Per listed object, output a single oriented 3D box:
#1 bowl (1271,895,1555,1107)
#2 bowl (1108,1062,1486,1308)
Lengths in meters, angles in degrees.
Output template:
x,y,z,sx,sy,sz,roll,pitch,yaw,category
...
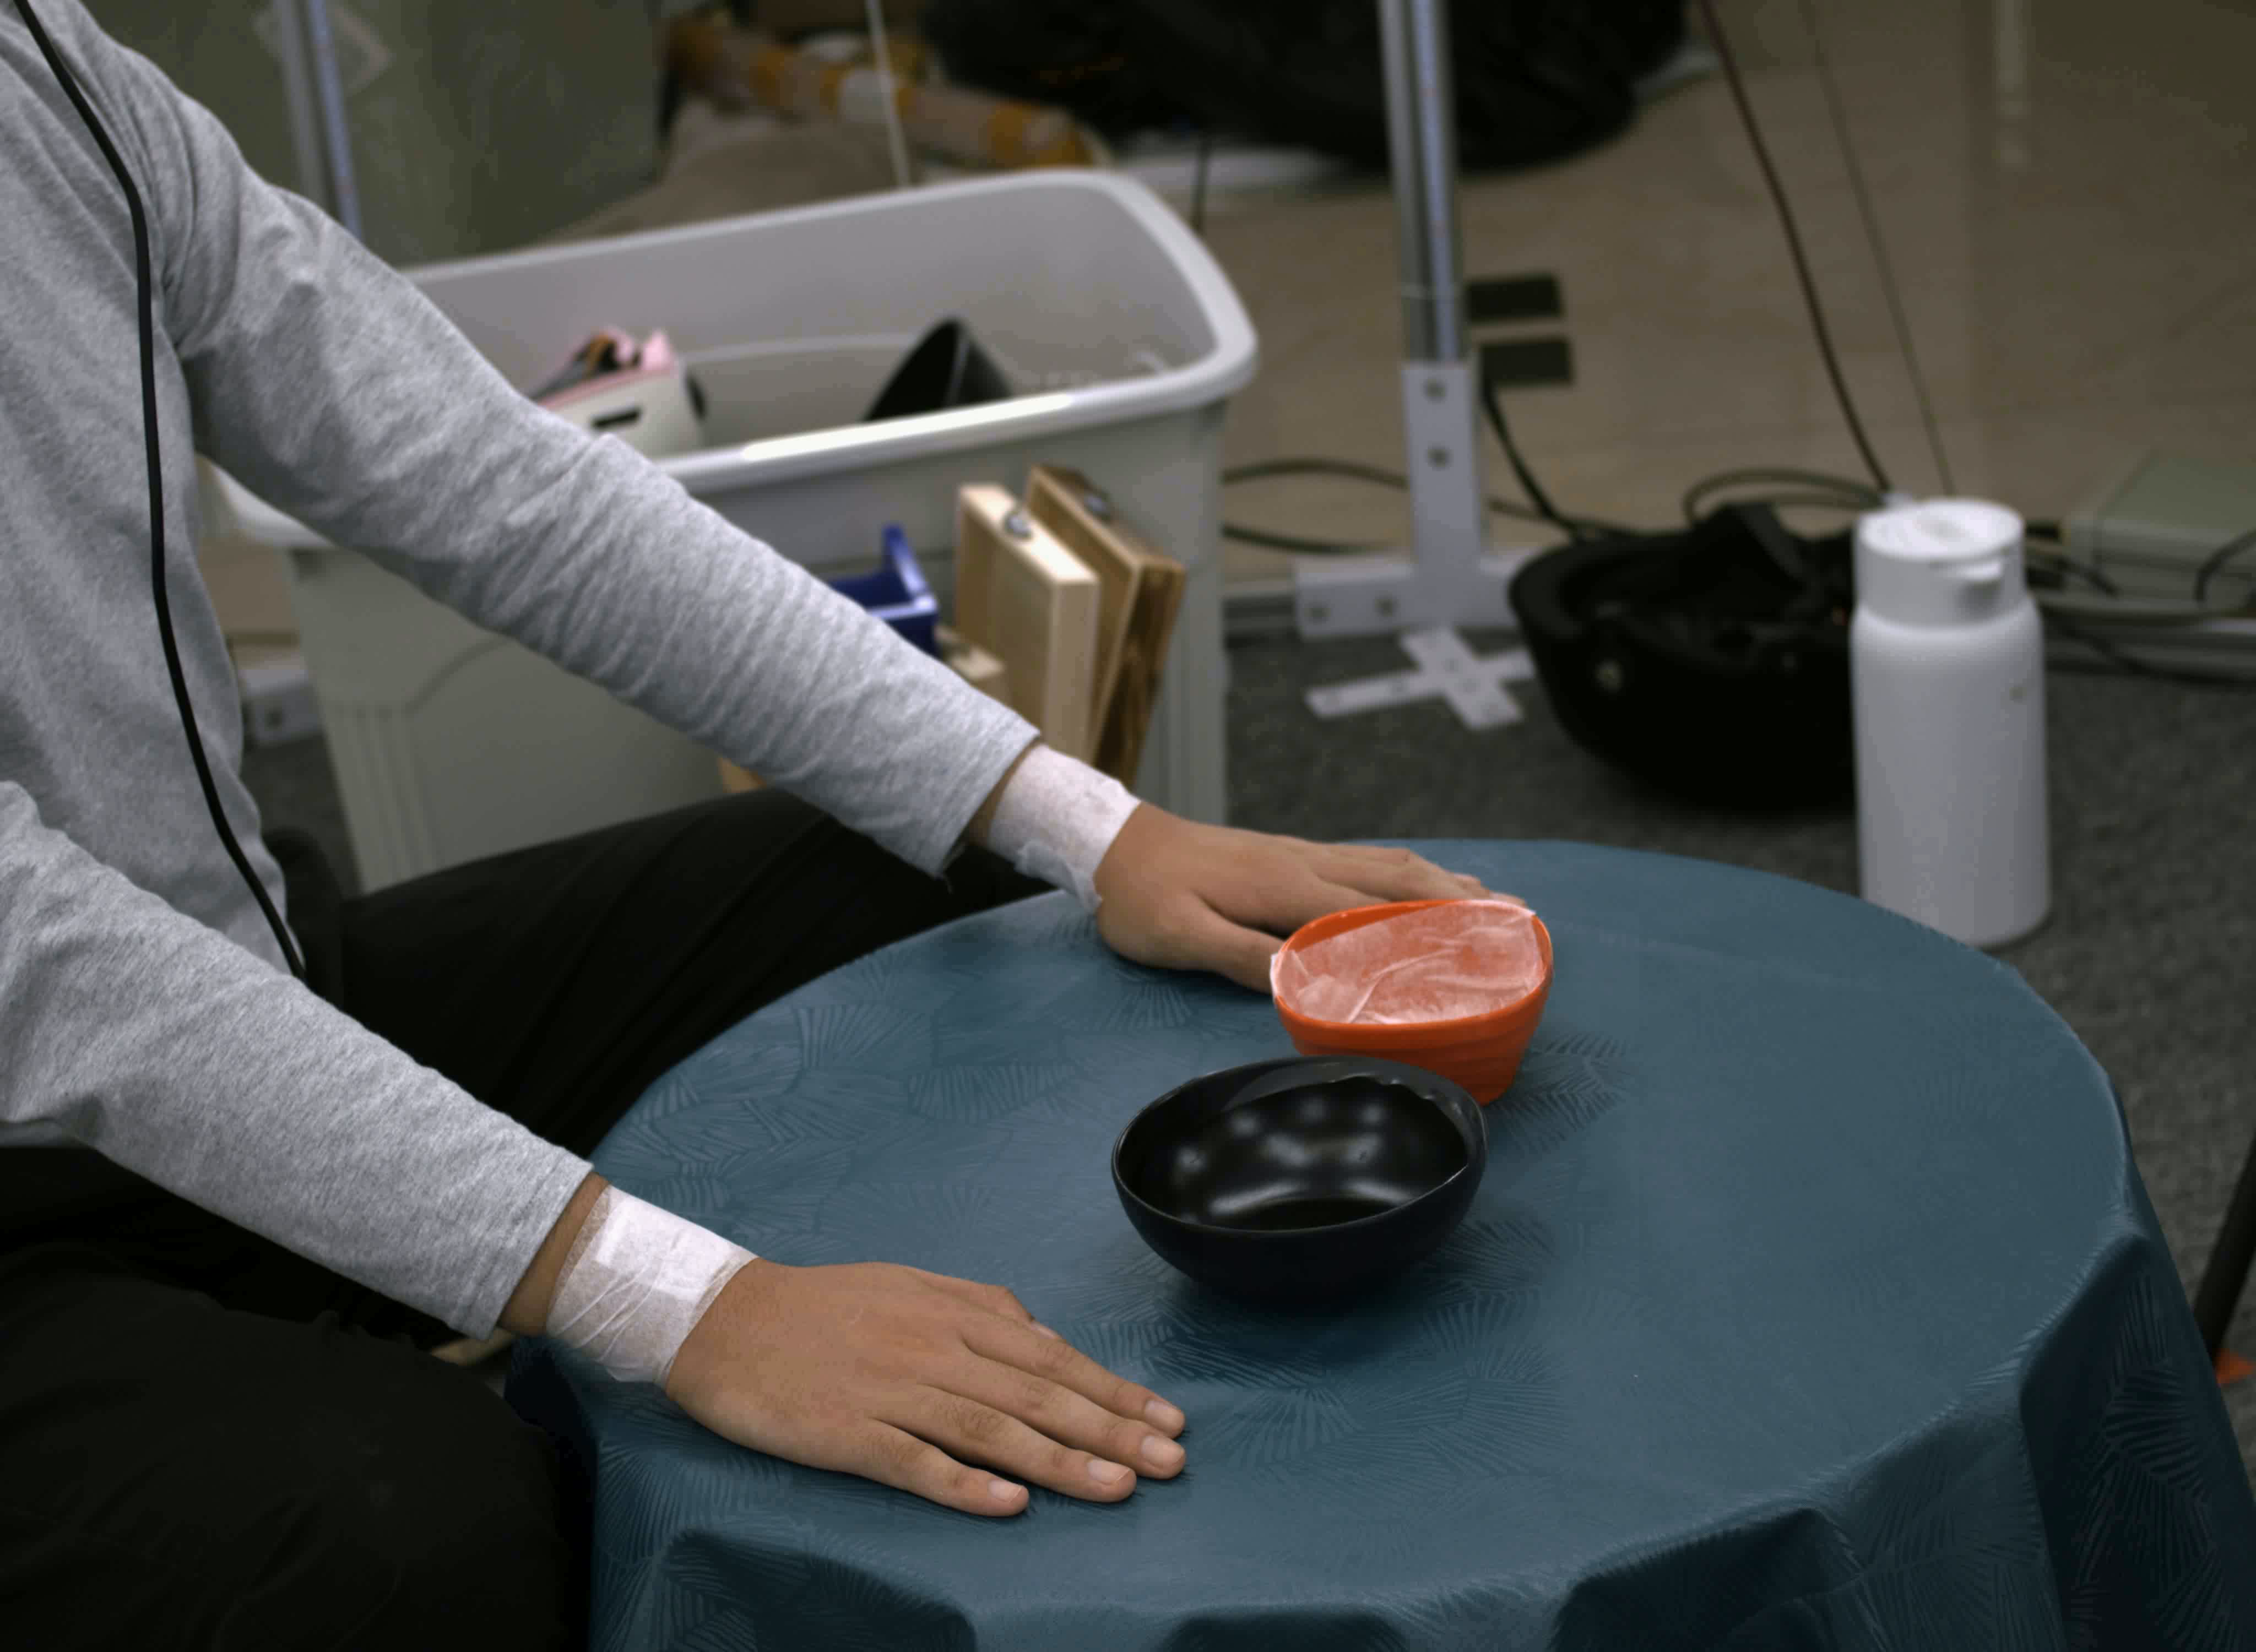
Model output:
x,y,z,sx,sy,sz,roll,pitch,yaw,category
0.112,0.073,2.202,0.119,0.052,0.117,-4,27,2,bowl
0.065,0.139,2.081,0.140,0.050,0.138,-8,23,3,bowl
